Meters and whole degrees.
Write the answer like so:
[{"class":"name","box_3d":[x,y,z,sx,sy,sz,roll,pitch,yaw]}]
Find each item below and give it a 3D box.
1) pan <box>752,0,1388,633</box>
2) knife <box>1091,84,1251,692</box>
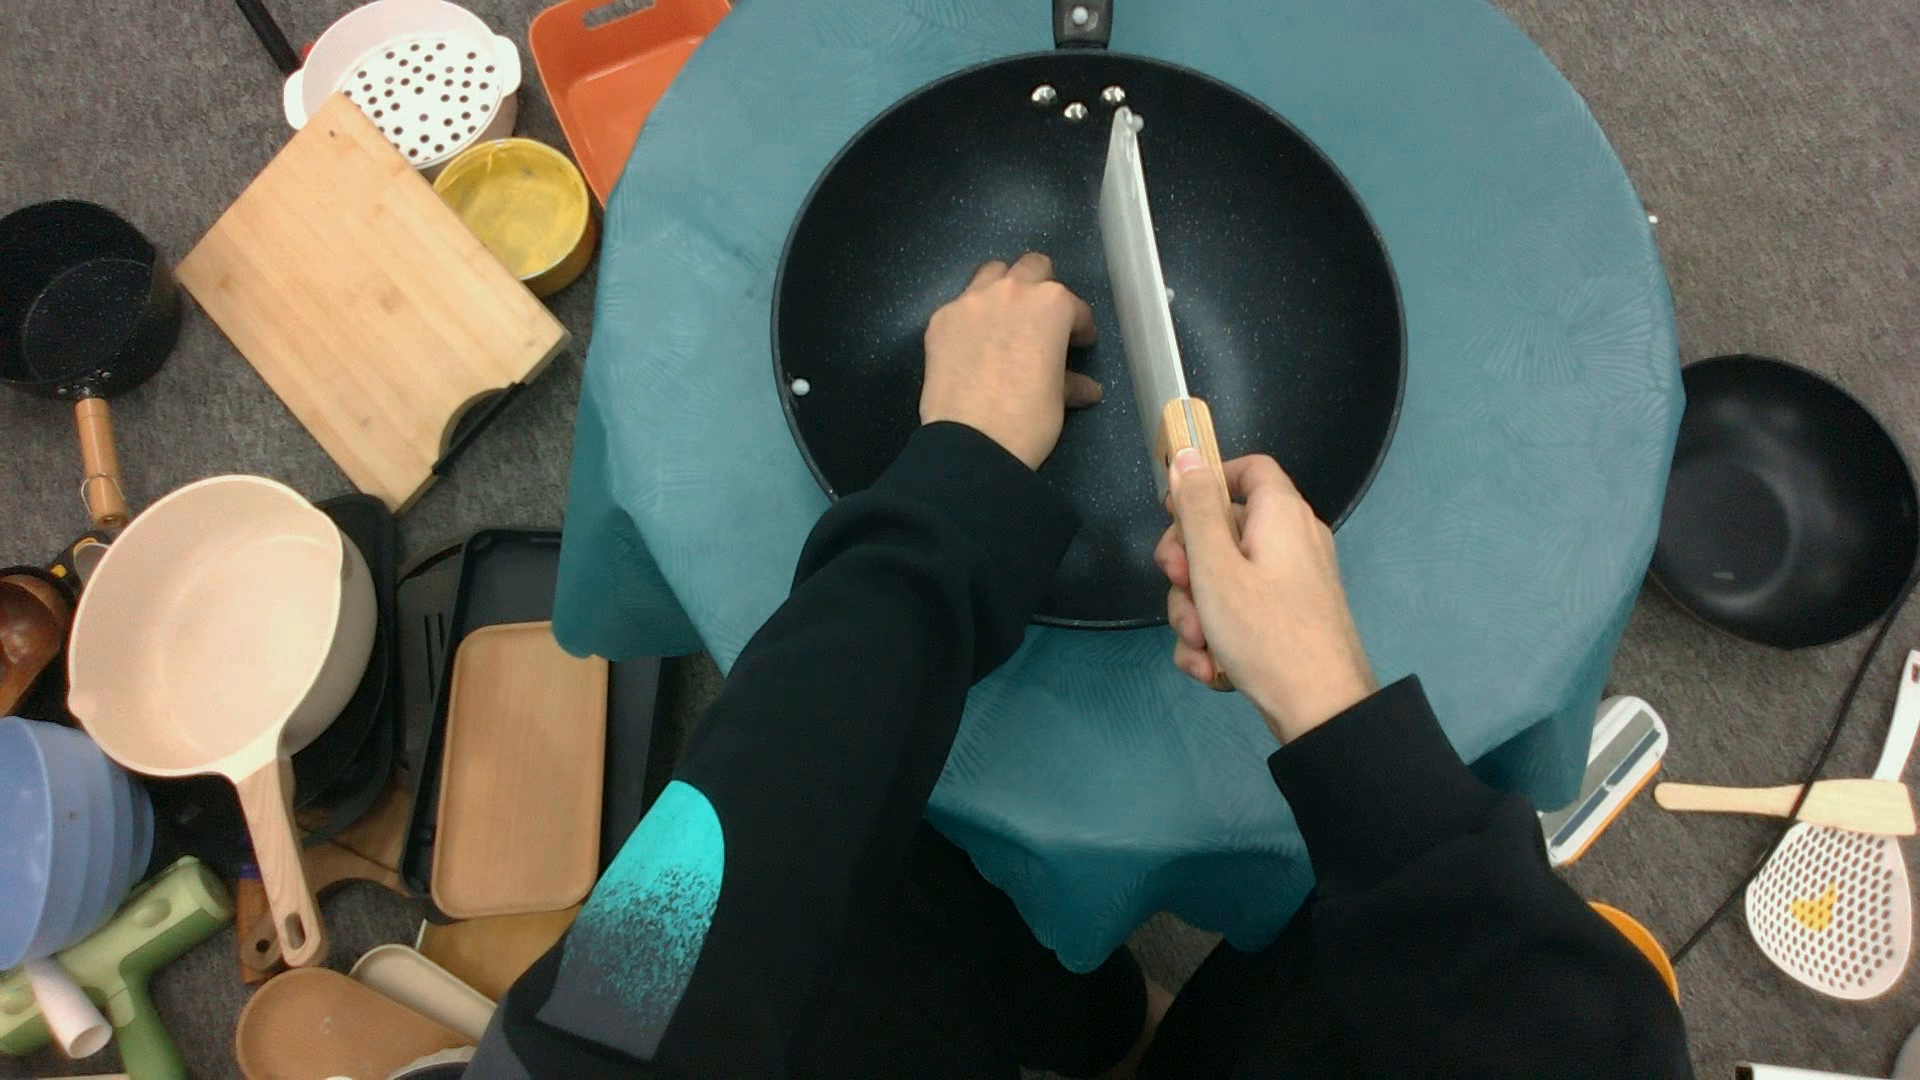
[{"class":"pan","box_3d":[0.052,-0.178,0.717,0.310,0.111,0.478,0,73,-4]},{"class":"knife","box_3d":[0.089,-0.077,0.640,0.022,0.113,0.316,-9,61,1]}]
